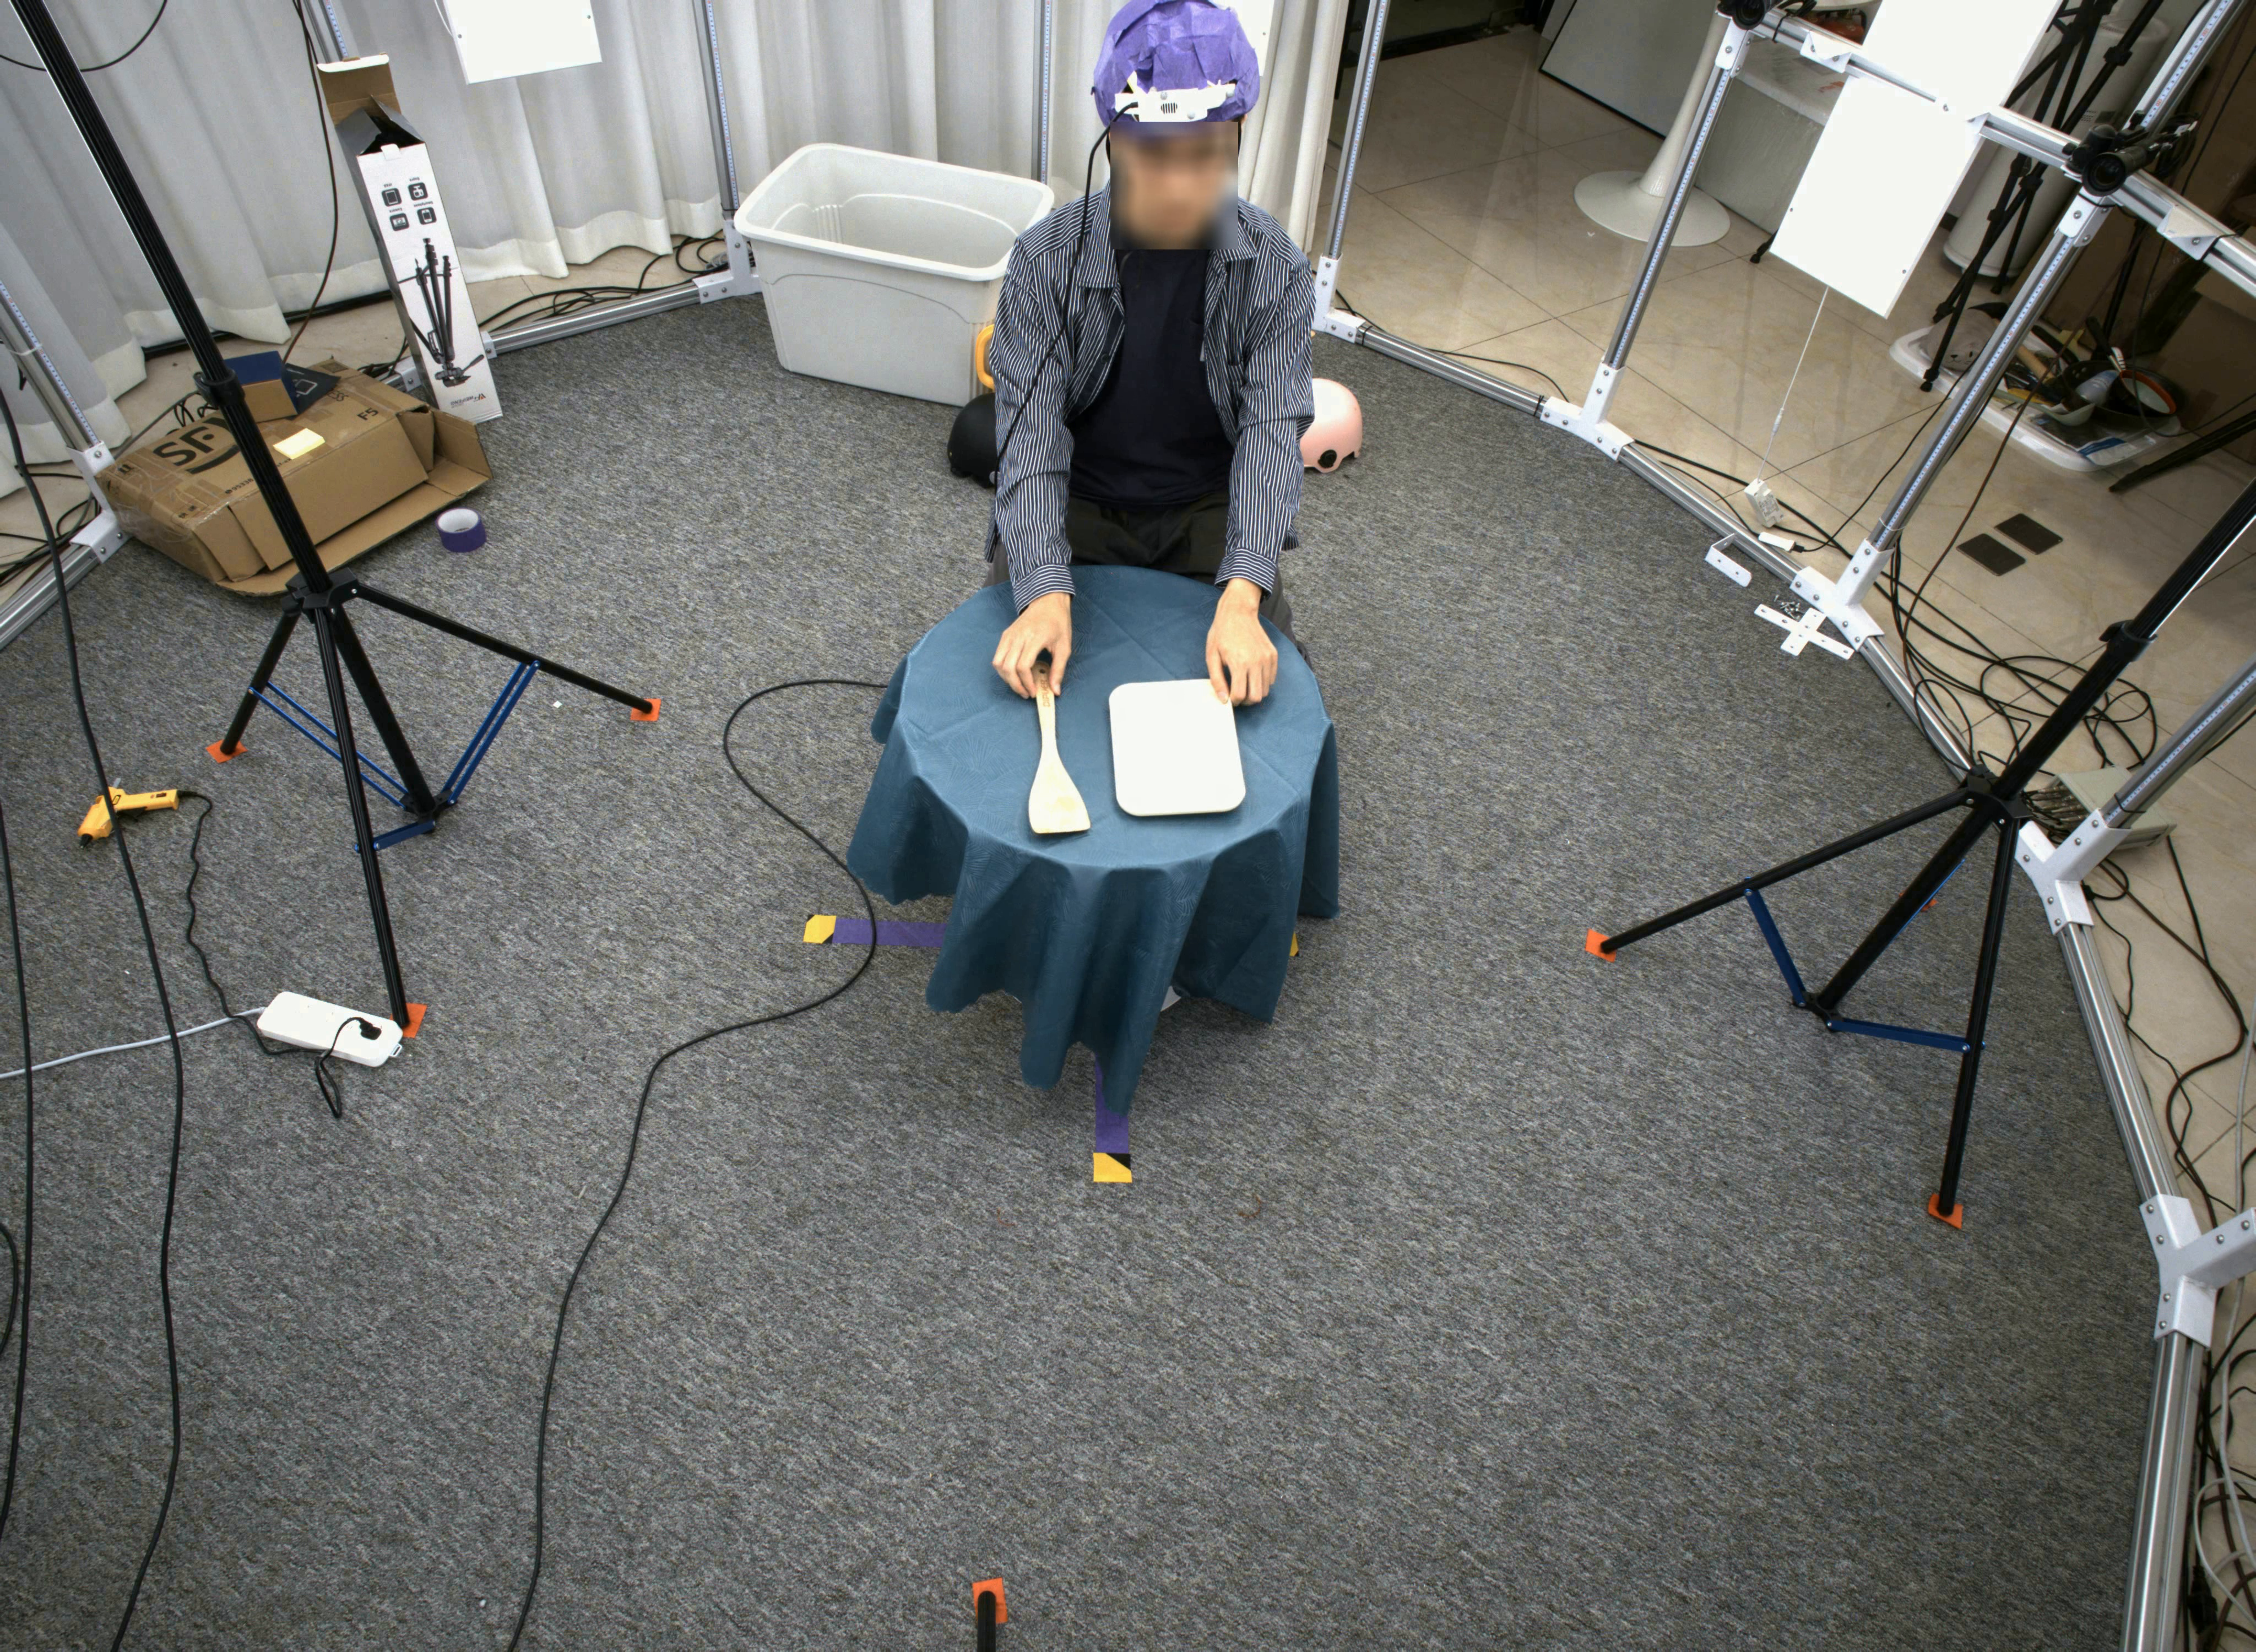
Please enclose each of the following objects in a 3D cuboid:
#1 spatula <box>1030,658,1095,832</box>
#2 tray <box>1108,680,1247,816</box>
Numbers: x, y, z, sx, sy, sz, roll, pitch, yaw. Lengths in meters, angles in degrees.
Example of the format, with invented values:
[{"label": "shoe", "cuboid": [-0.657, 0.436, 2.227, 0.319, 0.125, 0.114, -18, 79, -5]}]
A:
[{"label": "spatula", "cuboid": [-0.103, -0.115, 1.735, 0.079, 0.016, 0.336, 3, 49, -16]}, {"label": "tray", "cuboid": [0.064, -0.107, 1.739, 0.171, 0.017, 0.246, -3, 49, -3]}]
